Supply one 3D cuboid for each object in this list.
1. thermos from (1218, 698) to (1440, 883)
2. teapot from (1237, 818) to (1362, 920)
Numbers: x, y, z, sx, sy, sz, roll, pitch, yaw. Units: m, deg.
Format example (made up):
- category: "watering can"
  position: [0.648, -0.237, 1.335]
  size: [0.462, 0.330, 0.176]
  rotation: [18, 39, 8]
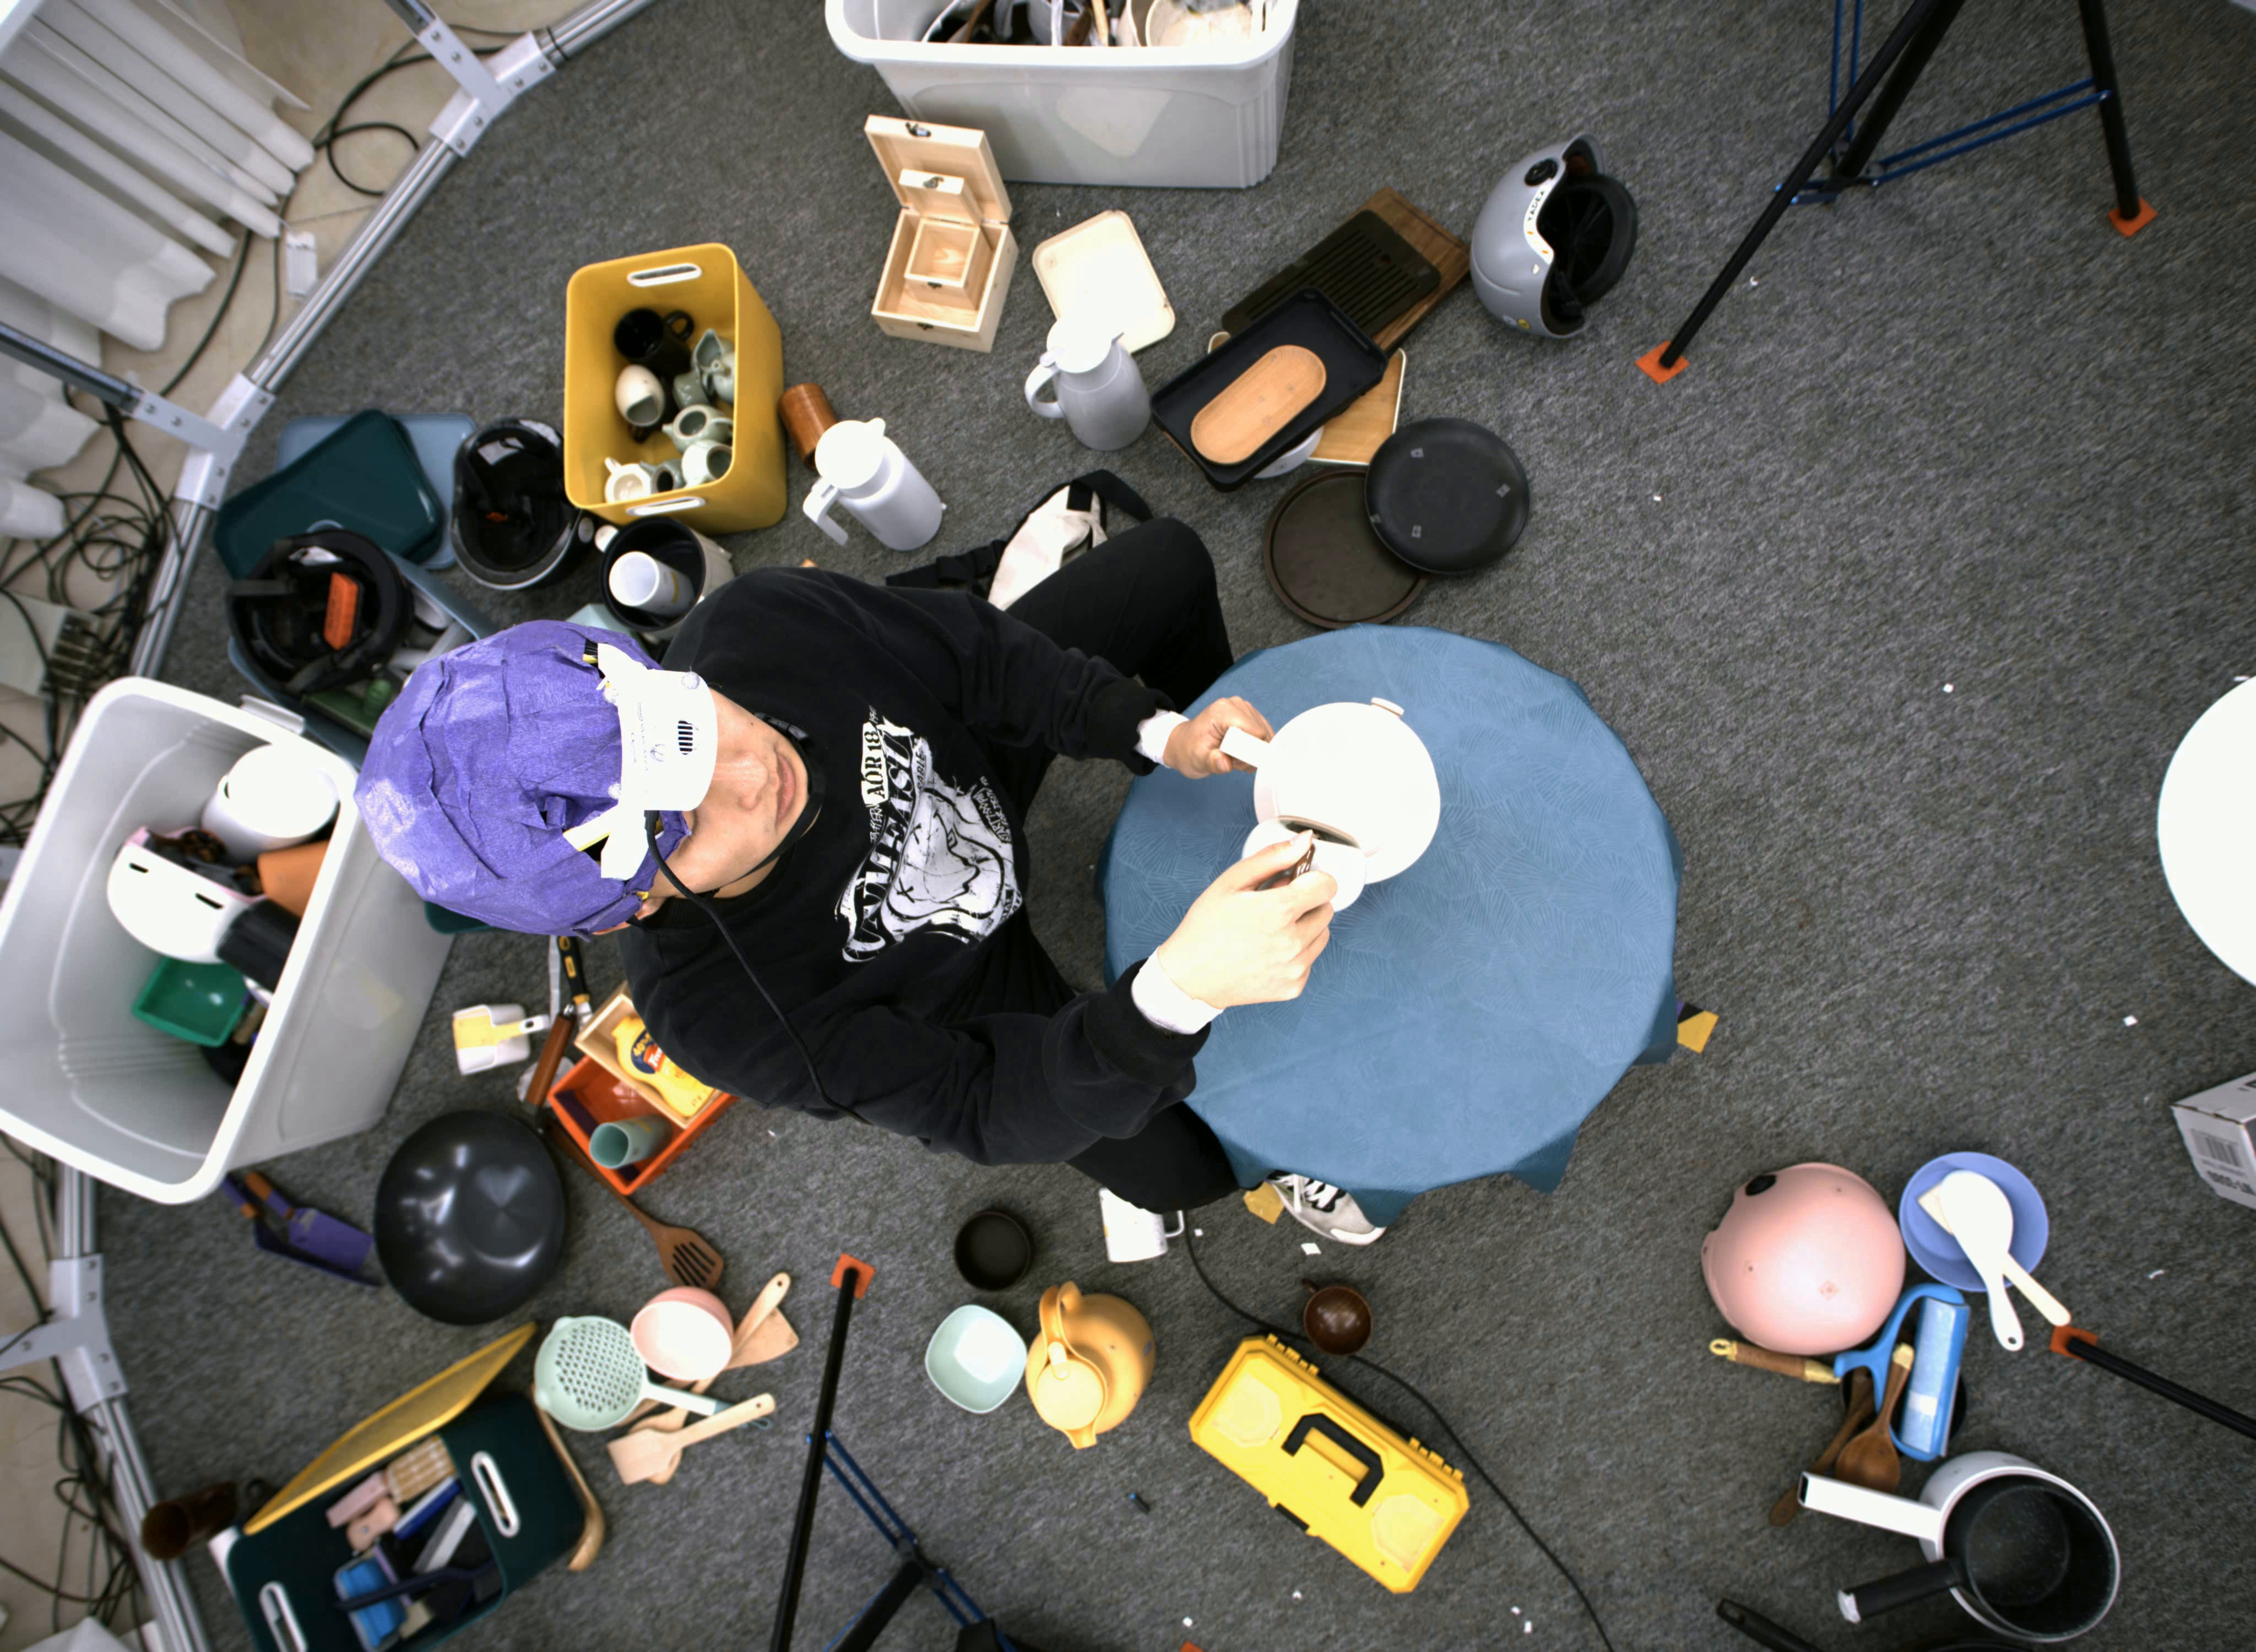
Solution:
- category: "thermos"
  position: [0.189, -0.036, 1.274]
  size: [0.207, 0.404, 0.176]
  rotation: [25, 96, 9]
- category: "teapot"
  position: [0.123, 0.032, 0.999]
  size: [0.092, 0.126, 0.060]
  rotation: [19, 105, 5]
